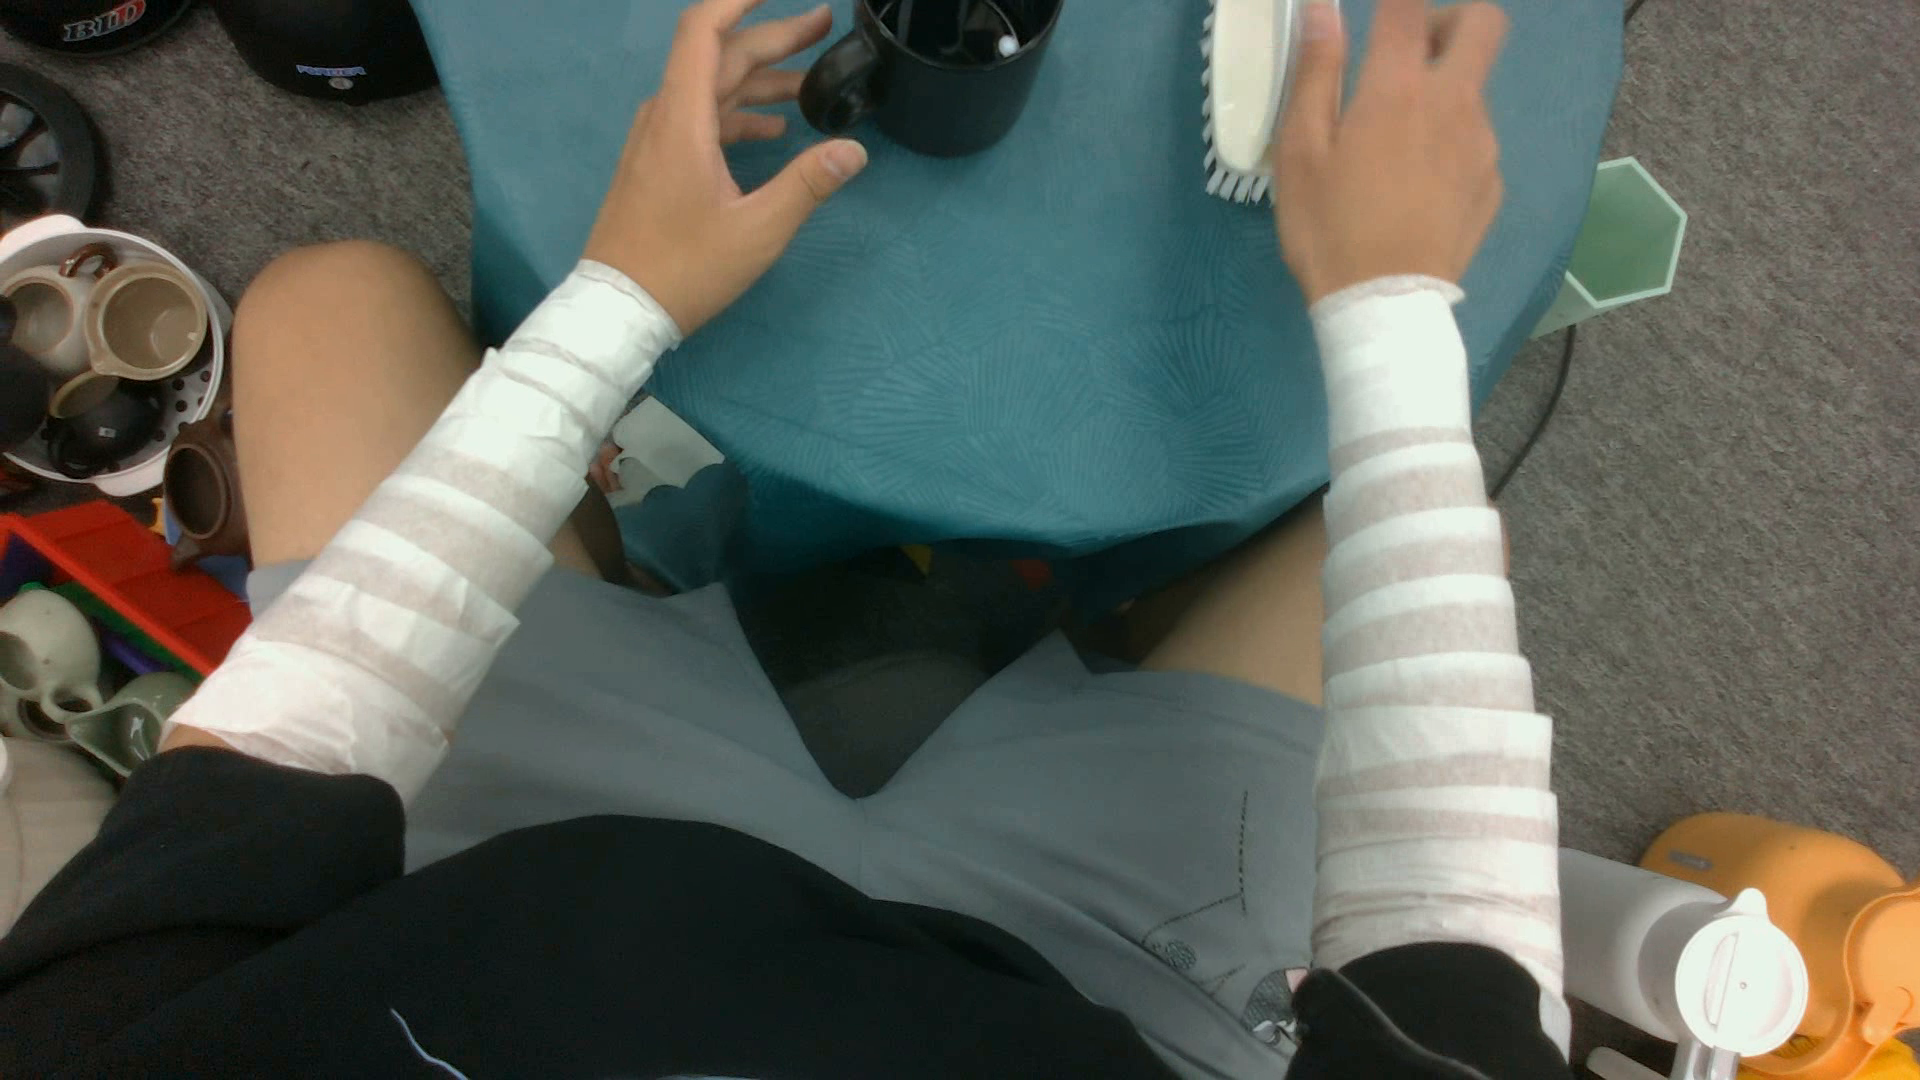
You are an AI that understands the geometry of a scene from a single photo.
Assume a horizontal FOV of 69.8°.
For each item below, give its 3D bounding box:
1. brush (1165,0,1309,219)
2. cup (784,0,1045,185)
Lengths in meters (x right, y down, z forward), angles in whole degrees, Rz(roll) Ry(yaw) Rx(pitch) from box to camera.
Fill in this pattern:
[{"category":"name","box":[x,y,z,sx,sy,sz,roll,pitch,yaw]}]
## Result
[{"category":"brush","box":[0.137,-0.251,0.655,0.061,0.094,0.176,4,80,-6]},{"category":"cup","box":[-0.027,-0.211,0.634,0.124,0.105,0.088,-34,93,-6]}]
